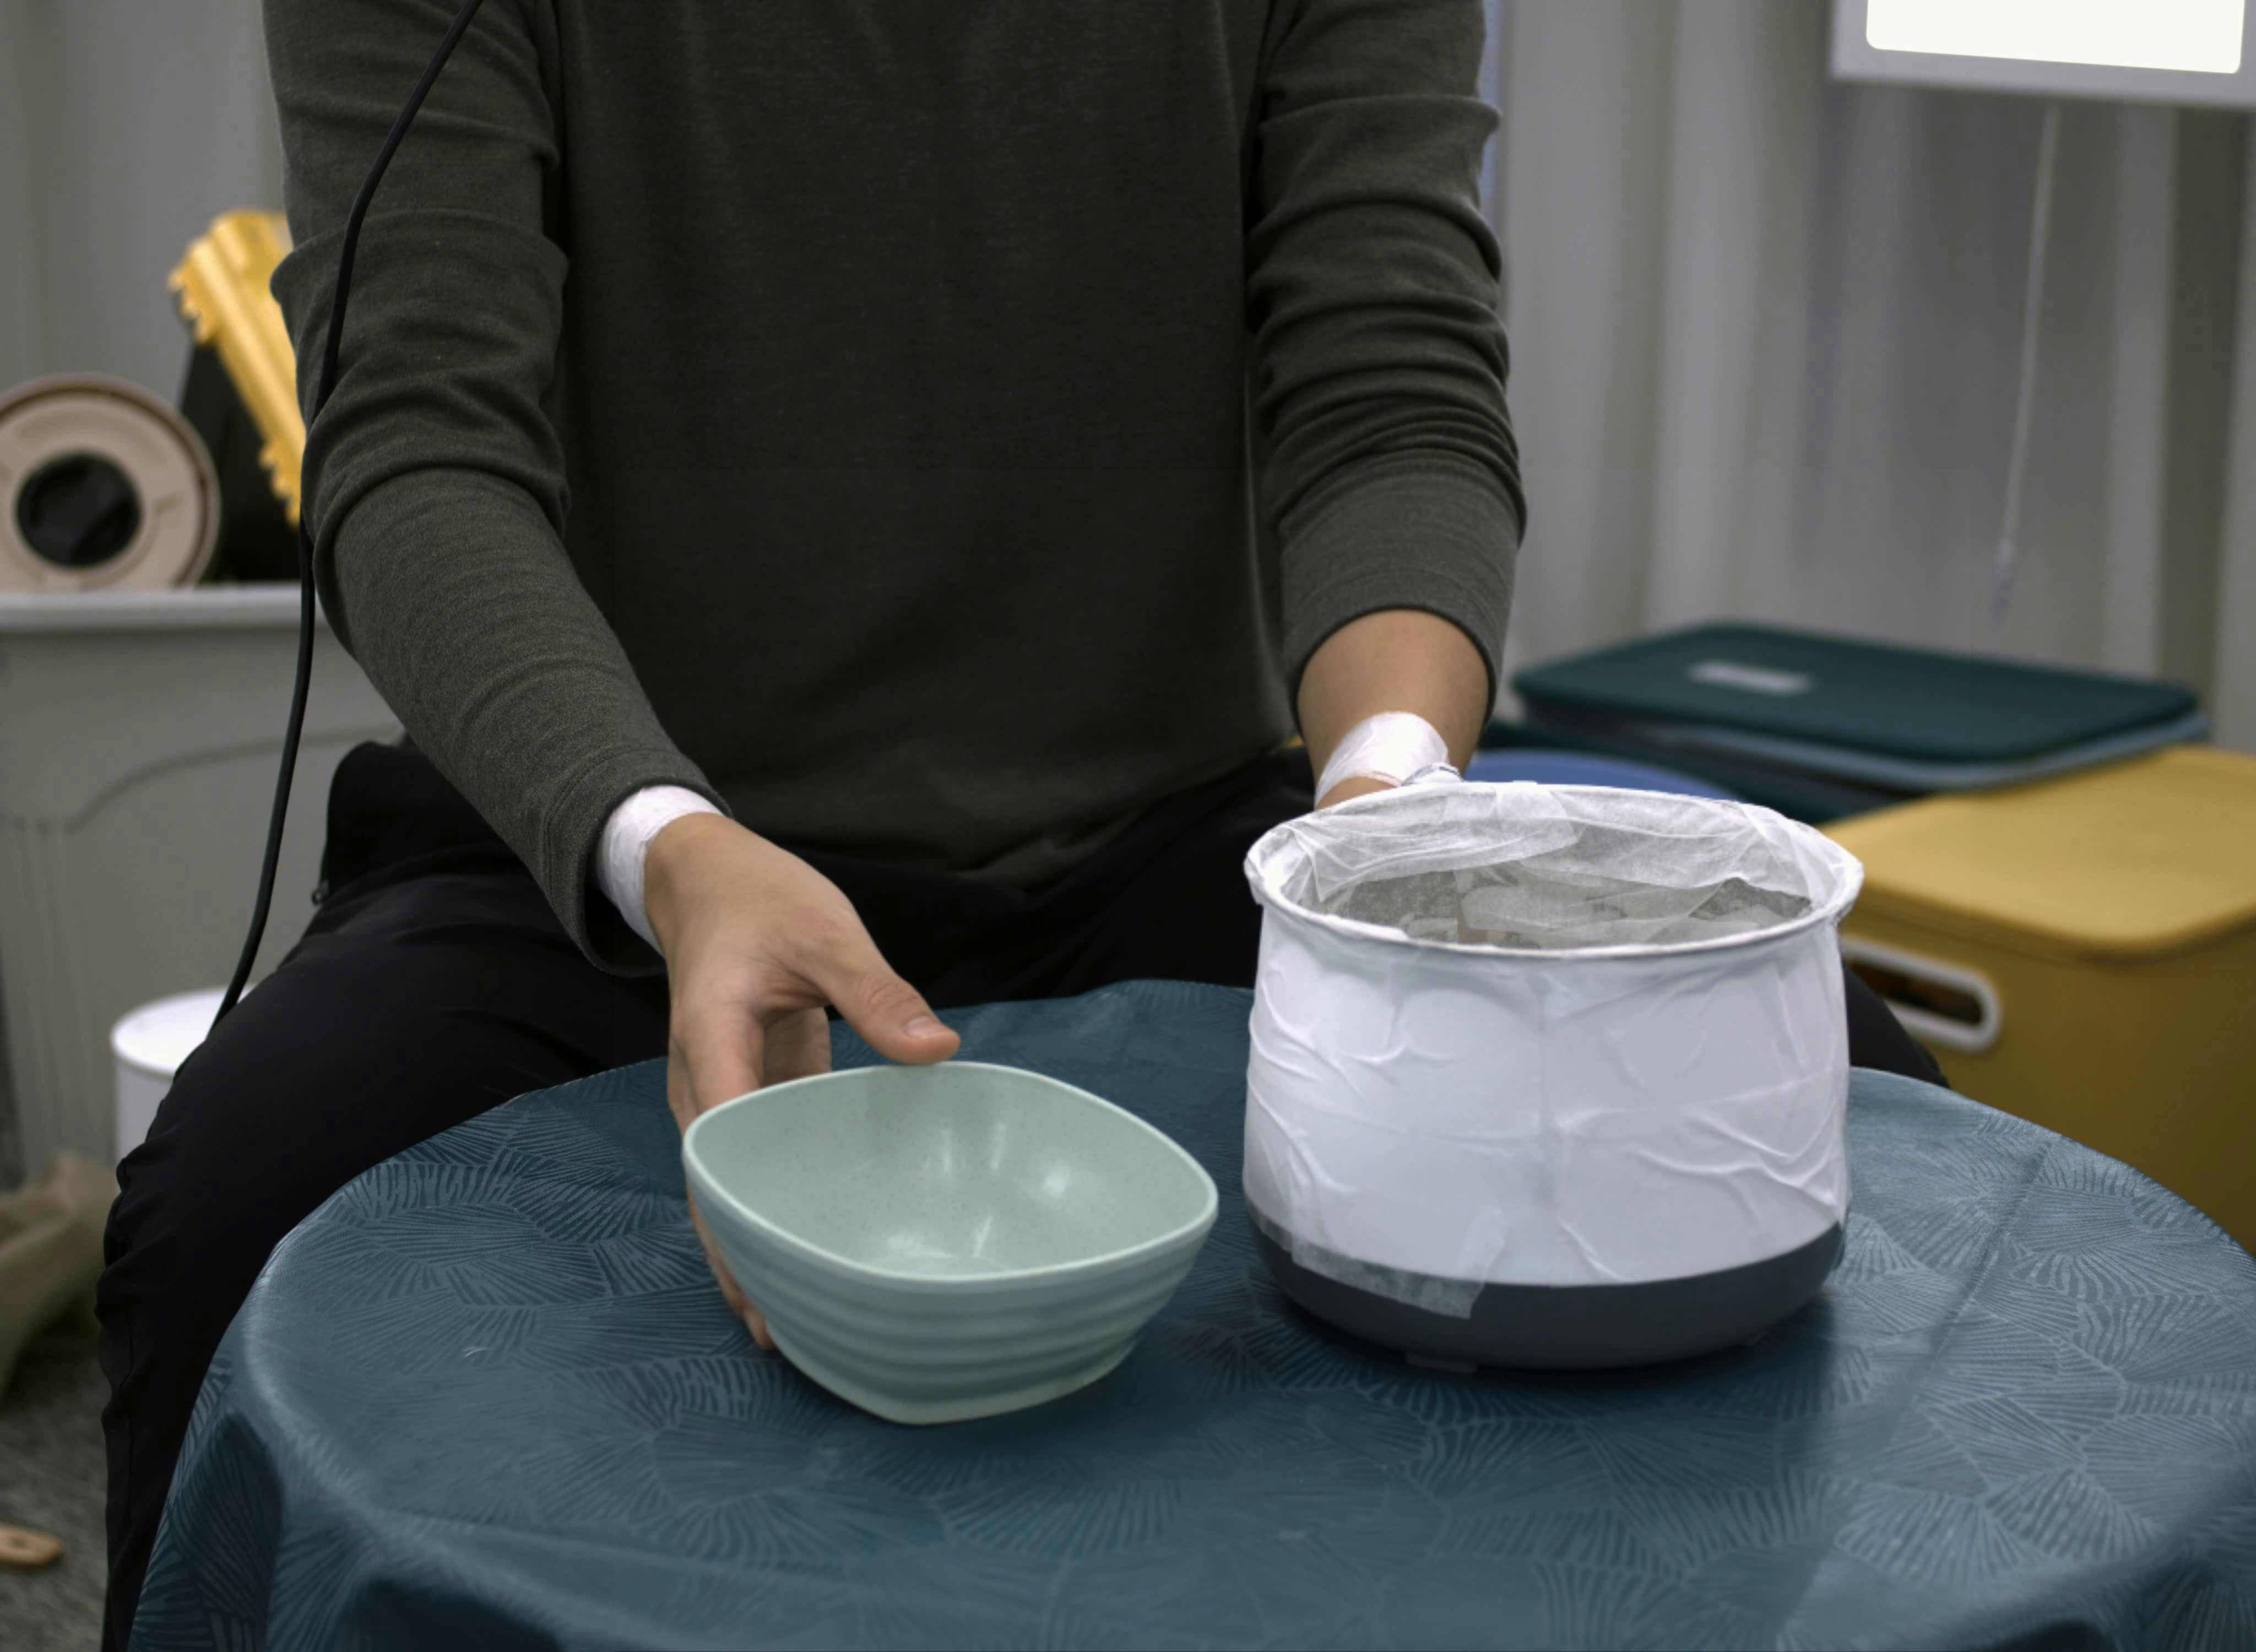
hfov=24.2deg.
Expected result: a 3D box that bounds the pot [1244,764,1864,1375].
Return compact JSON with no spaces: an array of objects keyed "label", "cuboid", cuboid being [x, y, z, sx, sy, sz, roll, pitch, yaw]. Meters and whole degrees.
[{"label":"pot","cuboid":[0.113,0.065,1.545,0.179,0.138,0.231,-5,16,-17]}]

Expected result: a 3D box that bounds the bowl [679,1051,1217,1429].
[{"label":"bowl","cuboid":[-0.053,0.120,1.469,0.151,0.059,0.150,6,22,-2]}]
